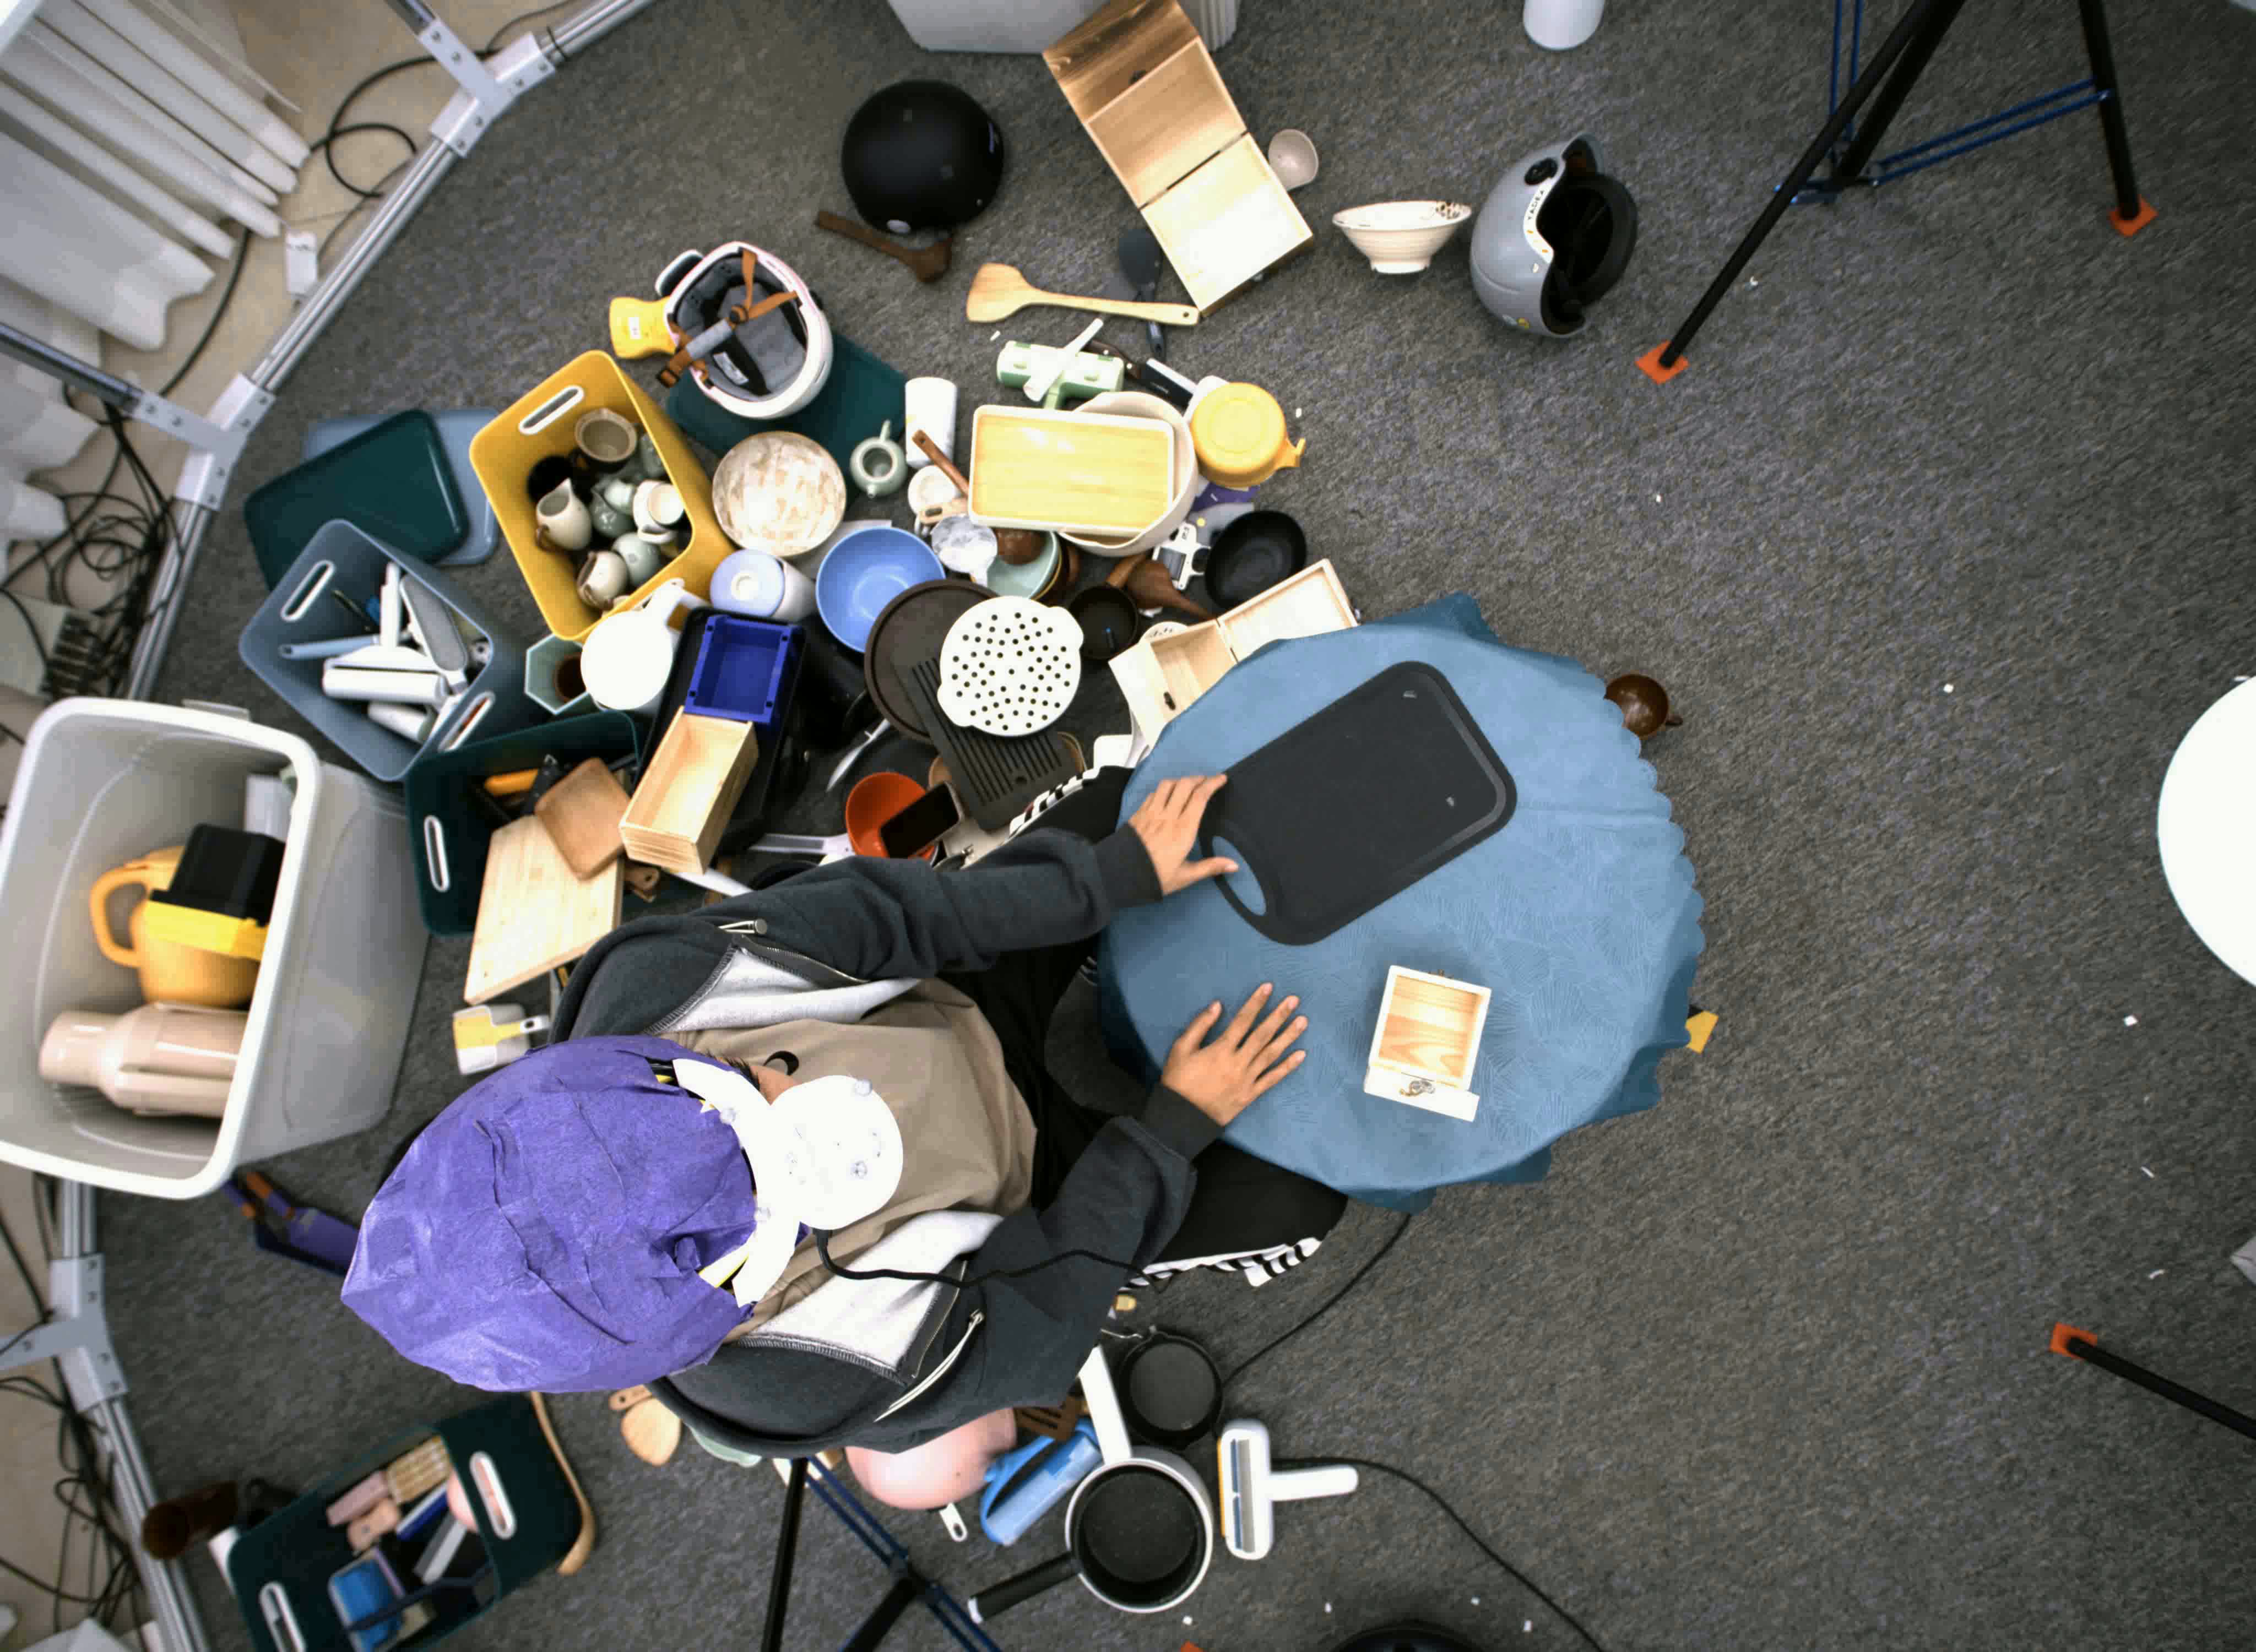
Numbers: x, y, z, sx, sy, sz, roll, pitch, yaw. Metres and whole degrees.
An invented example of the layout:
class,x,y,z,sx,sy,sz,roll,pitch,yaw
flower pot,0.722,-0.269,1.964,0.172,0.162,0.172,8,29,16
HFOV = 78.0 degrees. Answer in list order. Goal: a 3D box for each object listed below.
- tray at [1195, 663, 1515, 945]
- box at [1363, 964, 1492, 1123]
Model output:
class,x,y,z,sx,sy,sz,roll,pitch,yaw
tray,0.233,-0.020,1.468,0.327,0.010,0.210,-32,82,7
box,0.295,0.205,1.354,0.103,0.184,0.133,13,88,10
